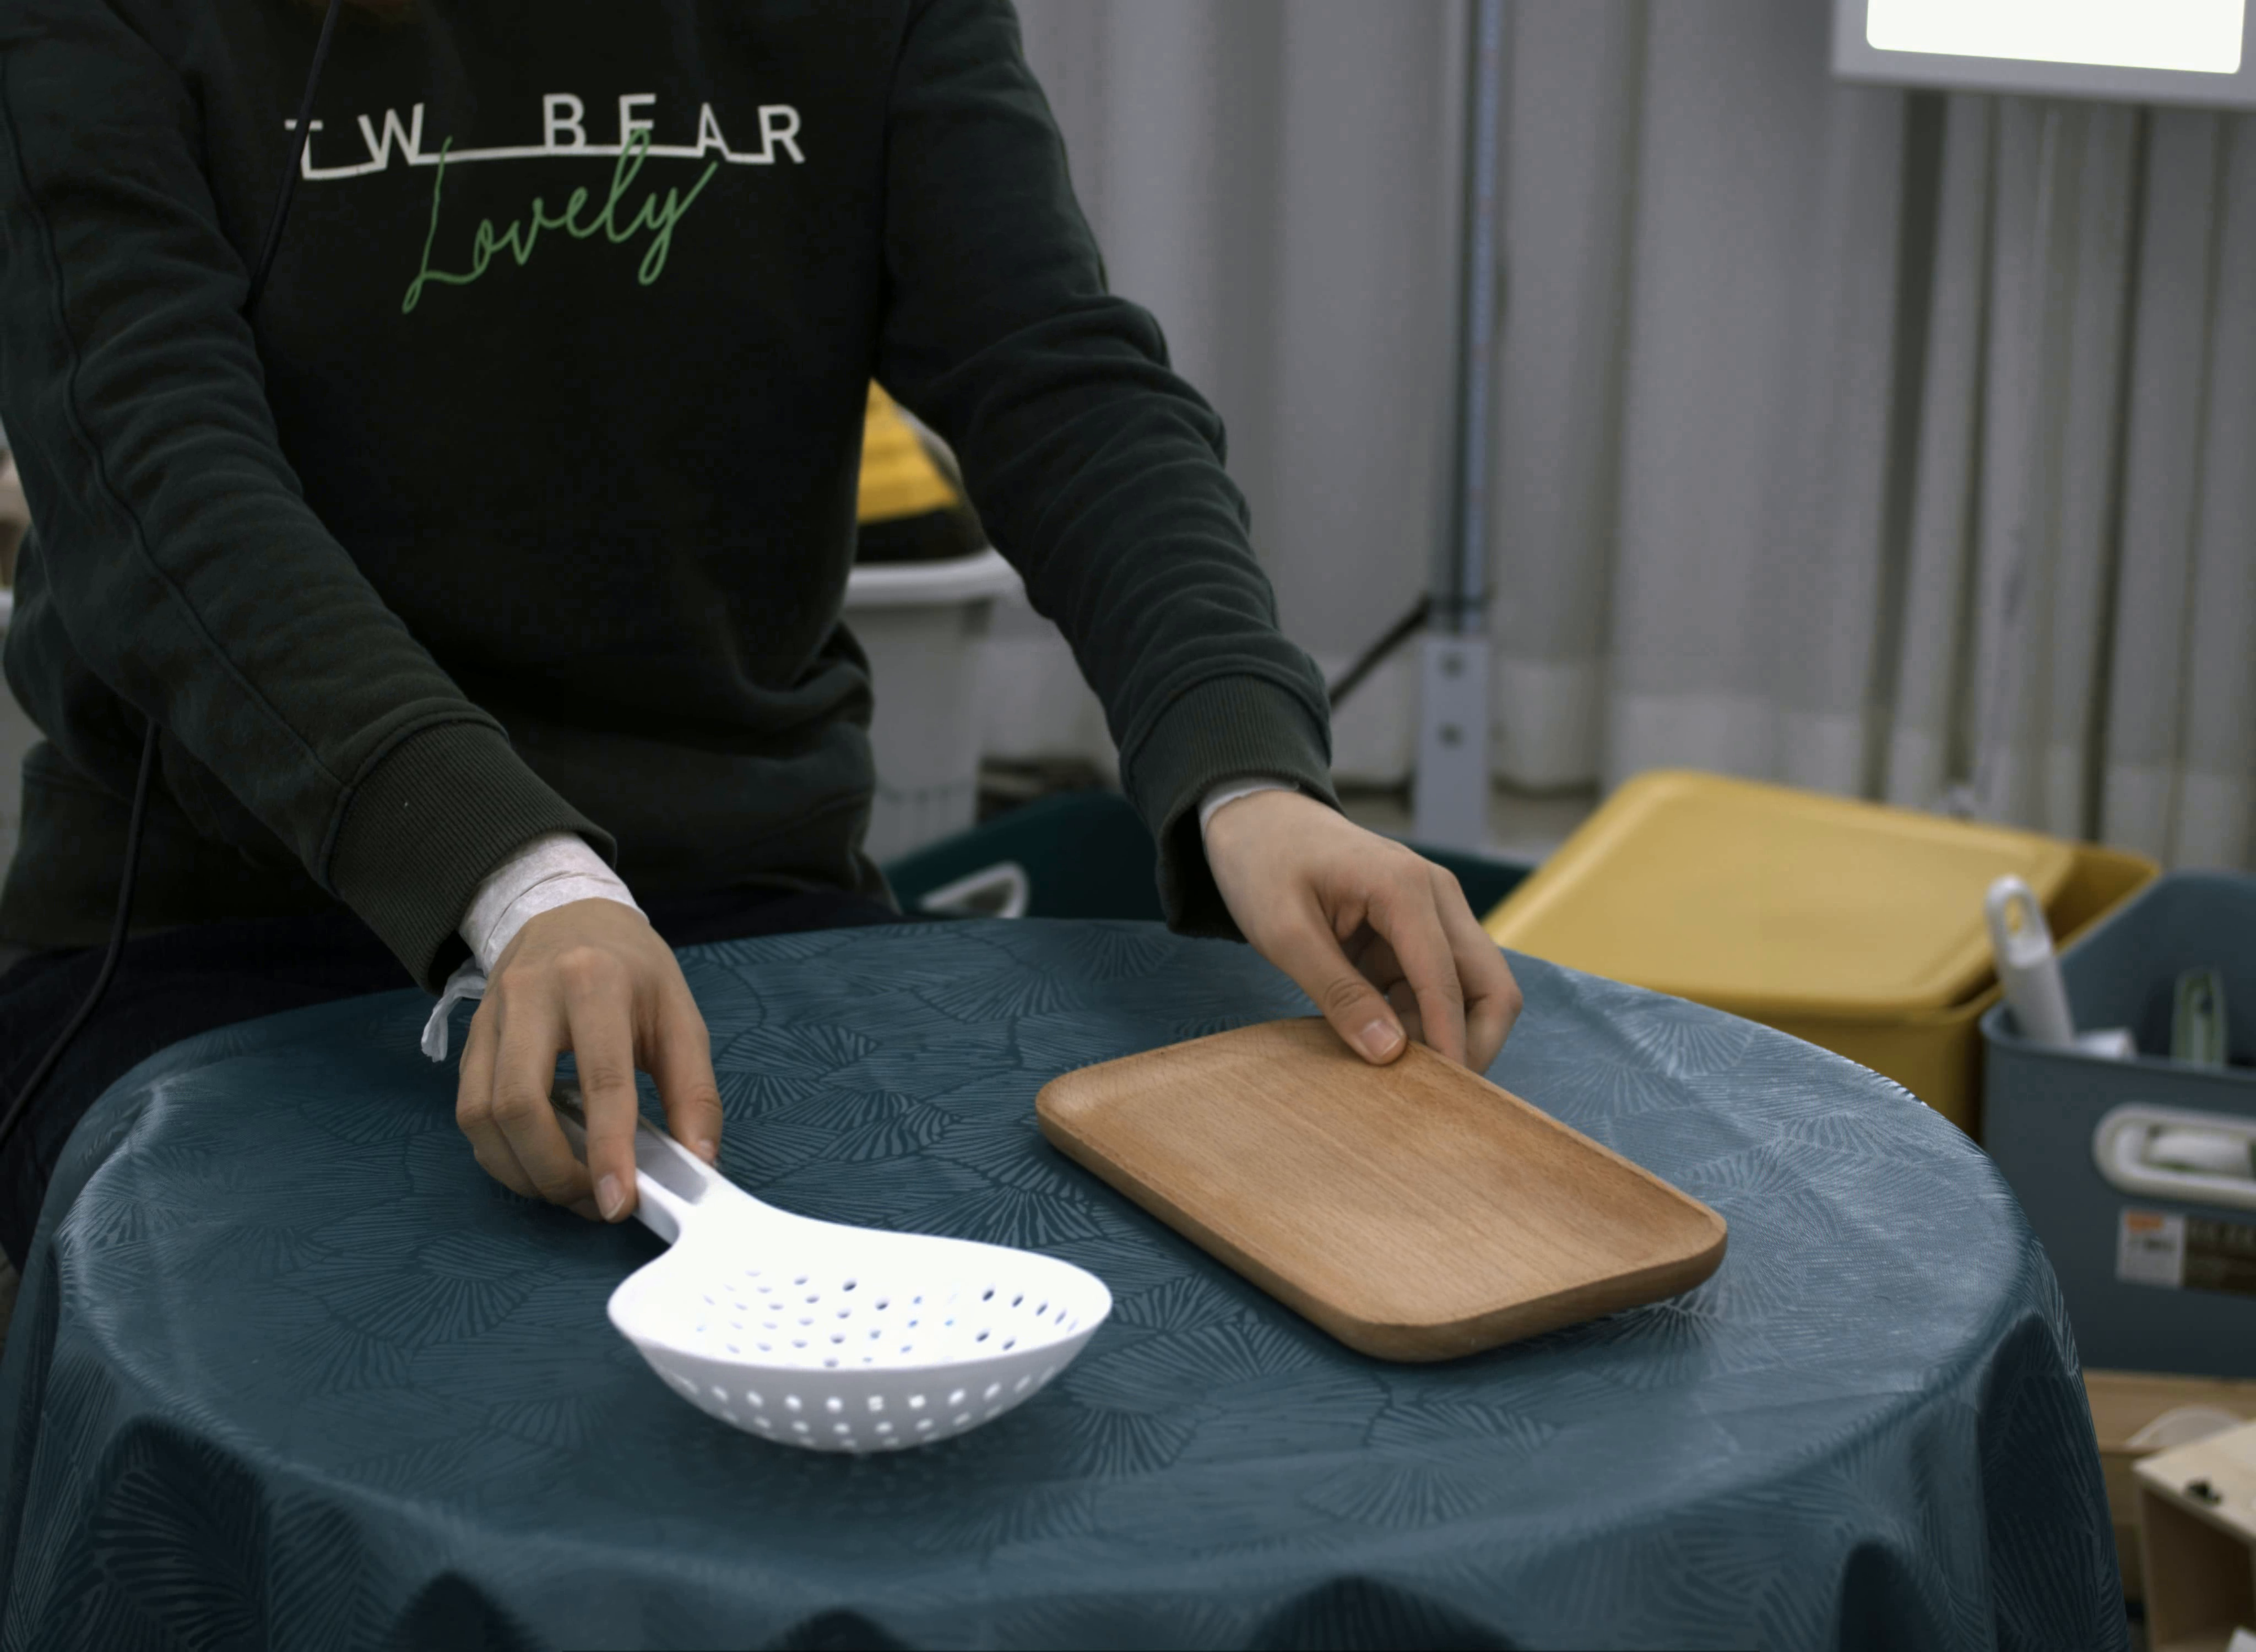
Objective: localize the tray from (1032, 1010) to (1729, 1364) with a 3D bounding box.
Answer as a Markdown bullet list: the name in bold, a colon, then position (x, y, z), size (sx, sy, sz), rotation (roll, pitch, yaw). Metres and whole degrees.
- **tray**: position (0.072, 0.107, 1.601), size (0.131, 0.023, 0.247), rotation (-11, 18, -24)

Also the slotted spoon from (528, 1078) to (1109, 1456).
- **slotted spoon**: position (-0.114, 0.117, 1.517), size (0.136, 0.046, 0.345), rotation (-3, 16, -23)
